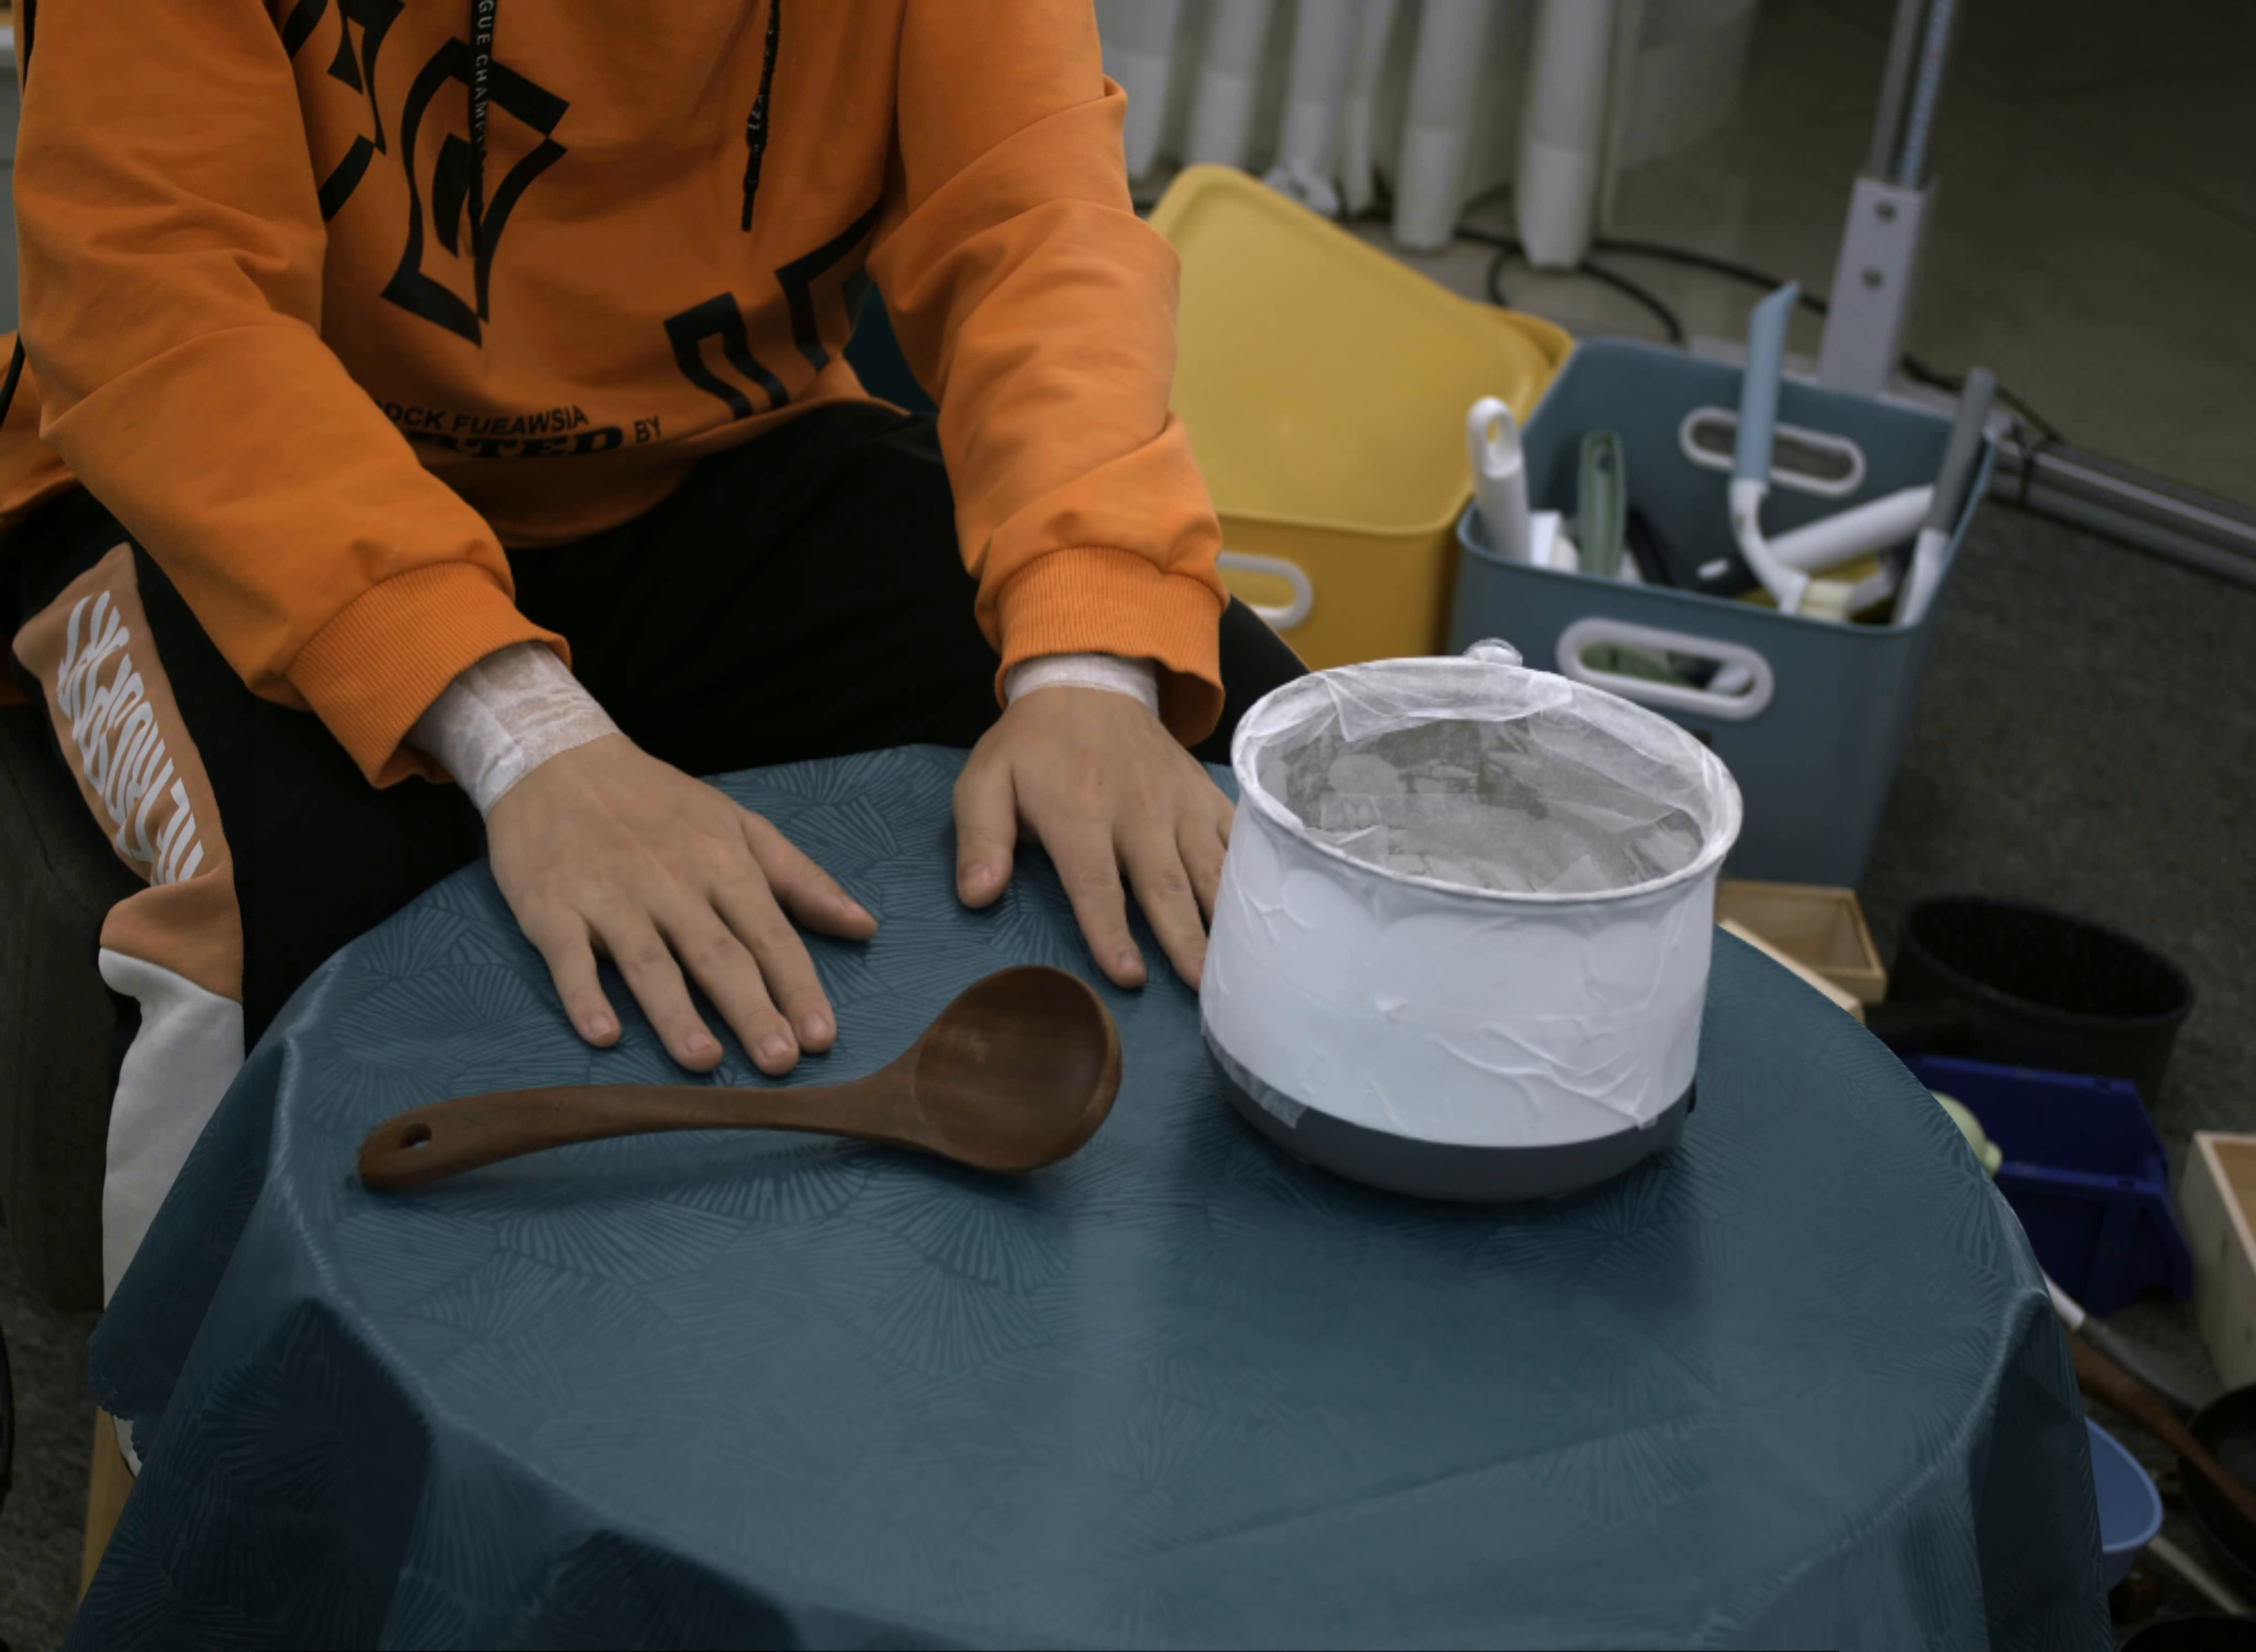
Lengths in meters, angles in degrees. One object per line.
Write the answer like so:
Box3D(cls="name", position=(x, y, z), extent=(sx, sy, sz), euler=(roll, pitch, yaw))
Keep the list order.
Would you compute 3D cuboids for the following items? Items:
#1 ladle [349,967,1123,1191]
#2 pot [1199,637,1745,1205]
Box3D(cls="ladle", position=(-0.128, 0.089, 1.774), extent=(0.258, 0.065, 0.077), euler=(-2, 50, -18))
Box3D(cls="pot", position=(0.118, 0.025, 1.870), extent=(0.178, 0.136, 0.235), euler=(7, 27, 1))
